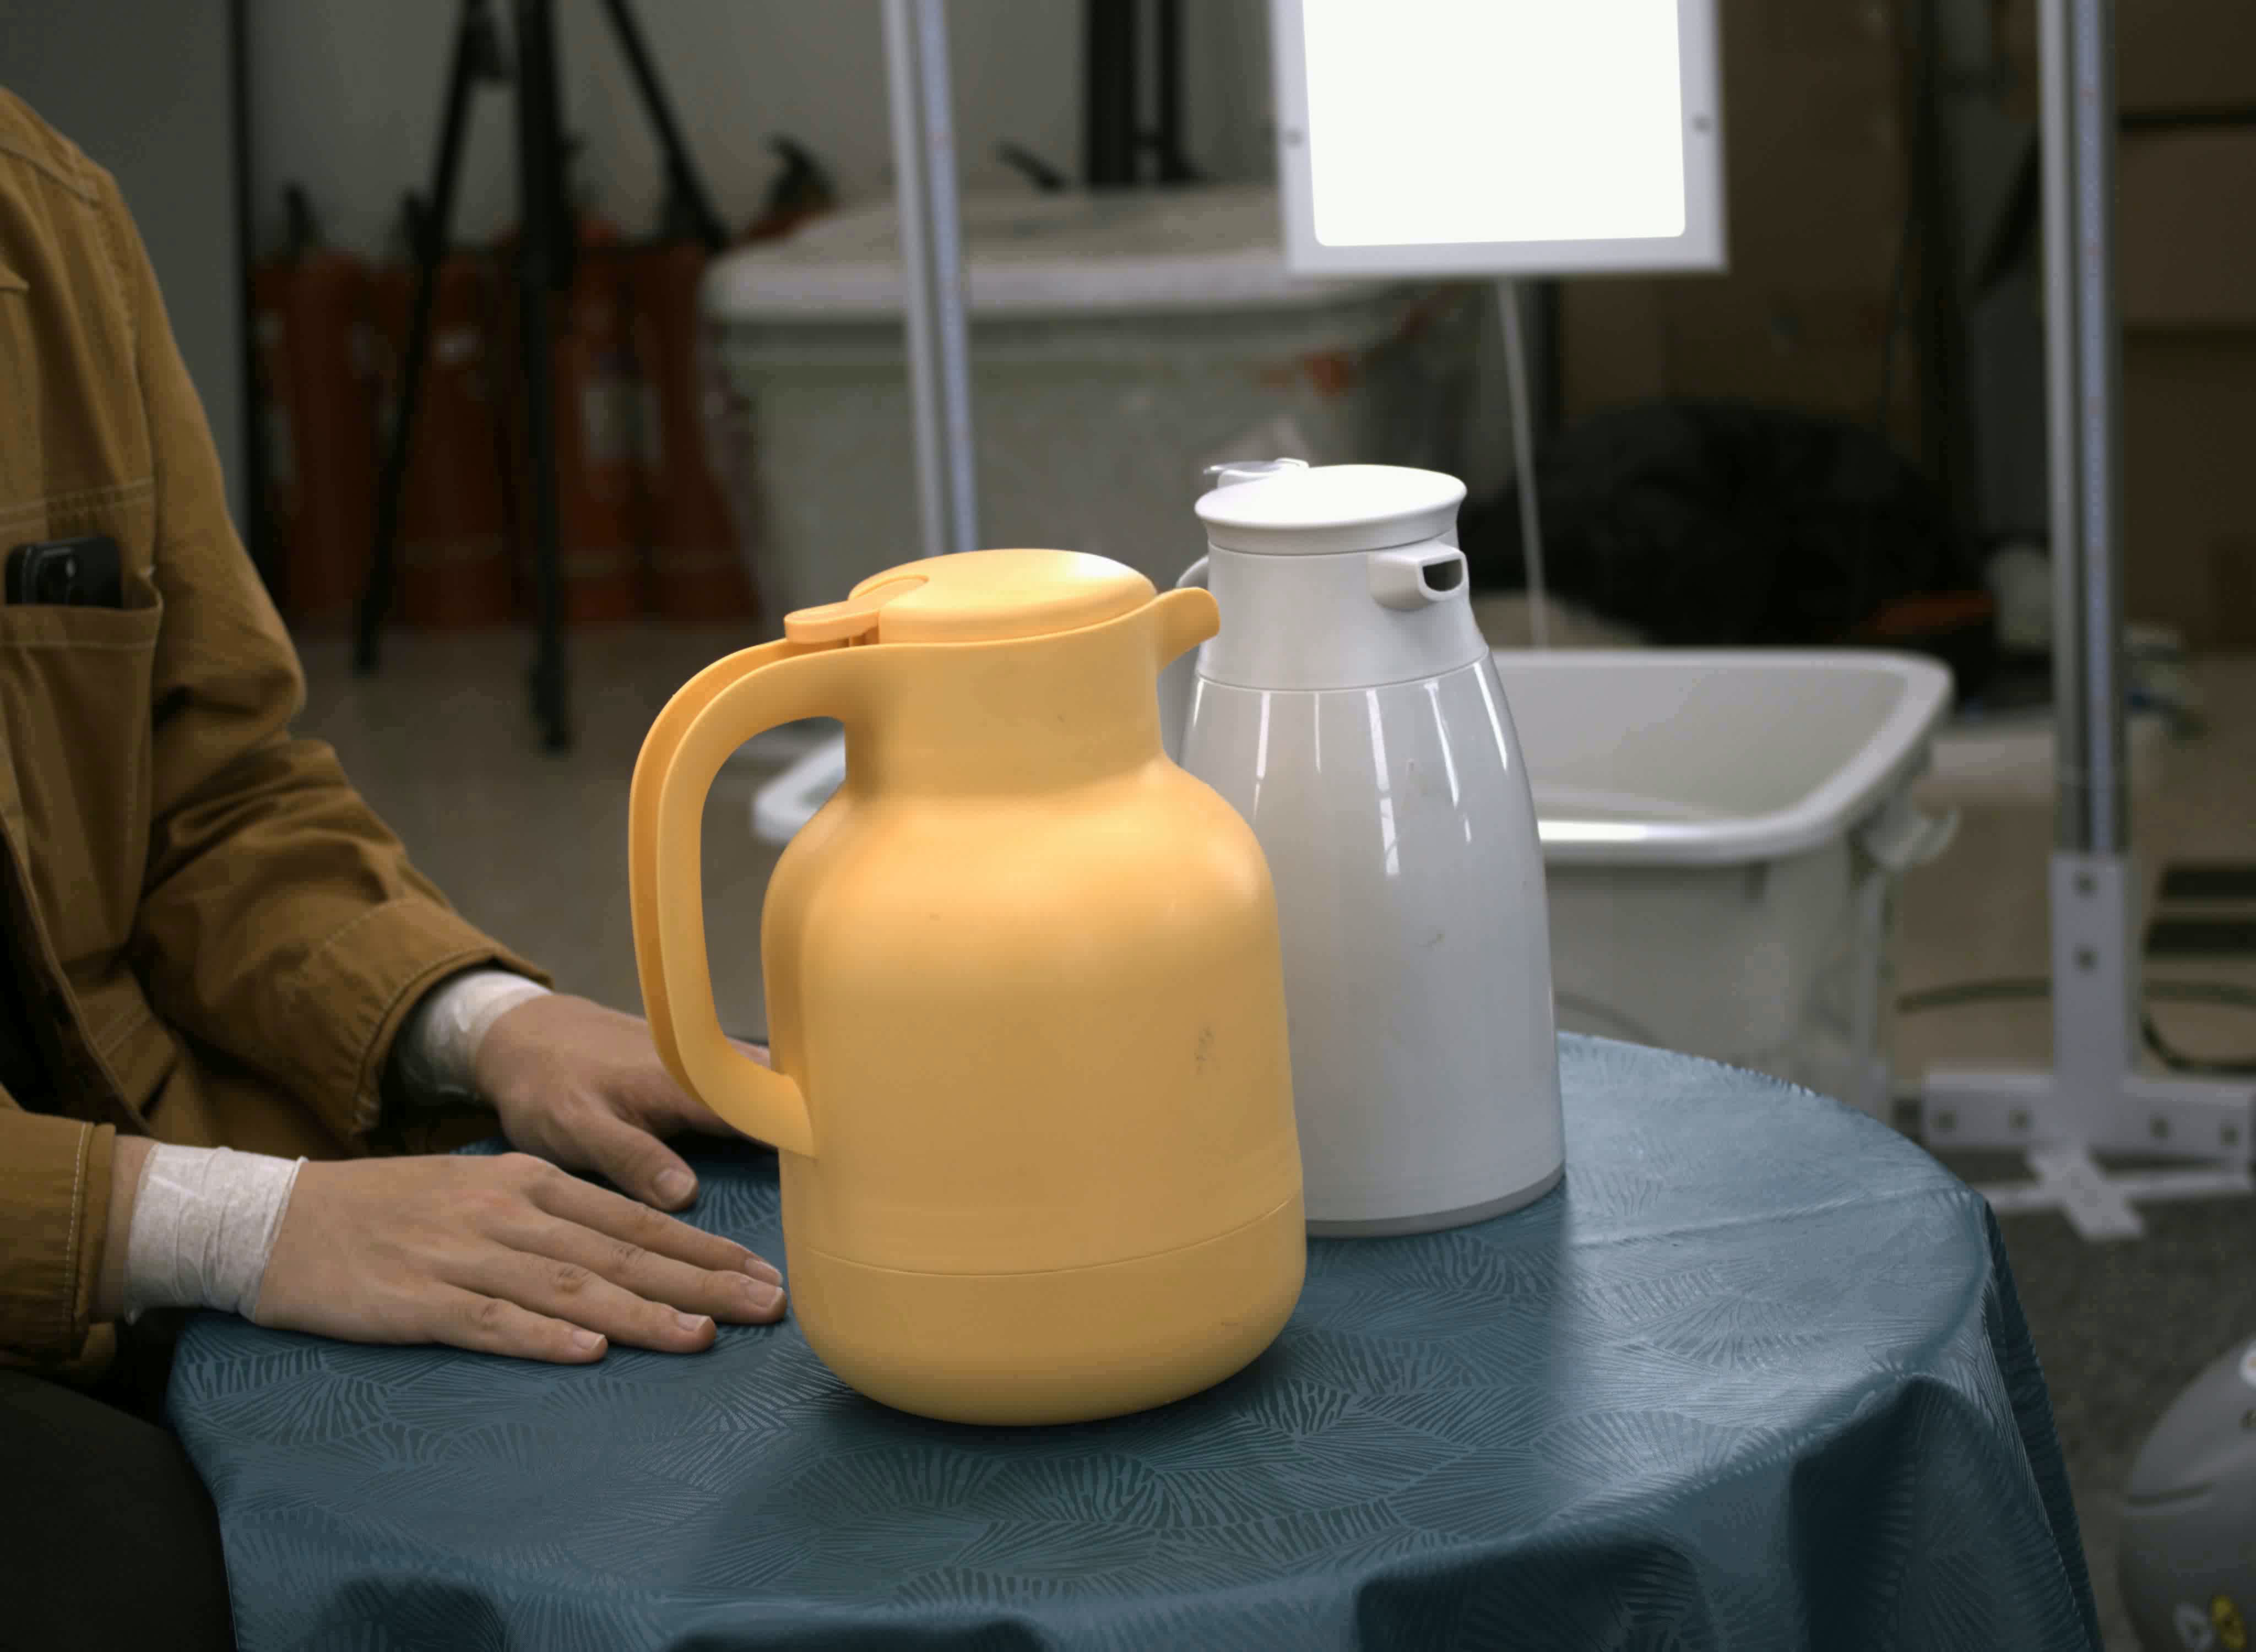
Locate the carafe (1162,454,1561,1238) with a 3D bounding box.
[{"bbox_3d":[0.064,-0.001,1.874,0.129,0.249,0.171,-13,16,-31],"label":"carafe"}]

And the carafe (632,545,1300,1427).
[{"bbox_3d":[-0.051,0.048,1.694,0.199,0.261,0.166,-9,12,-20],"label":"carafe"}]
